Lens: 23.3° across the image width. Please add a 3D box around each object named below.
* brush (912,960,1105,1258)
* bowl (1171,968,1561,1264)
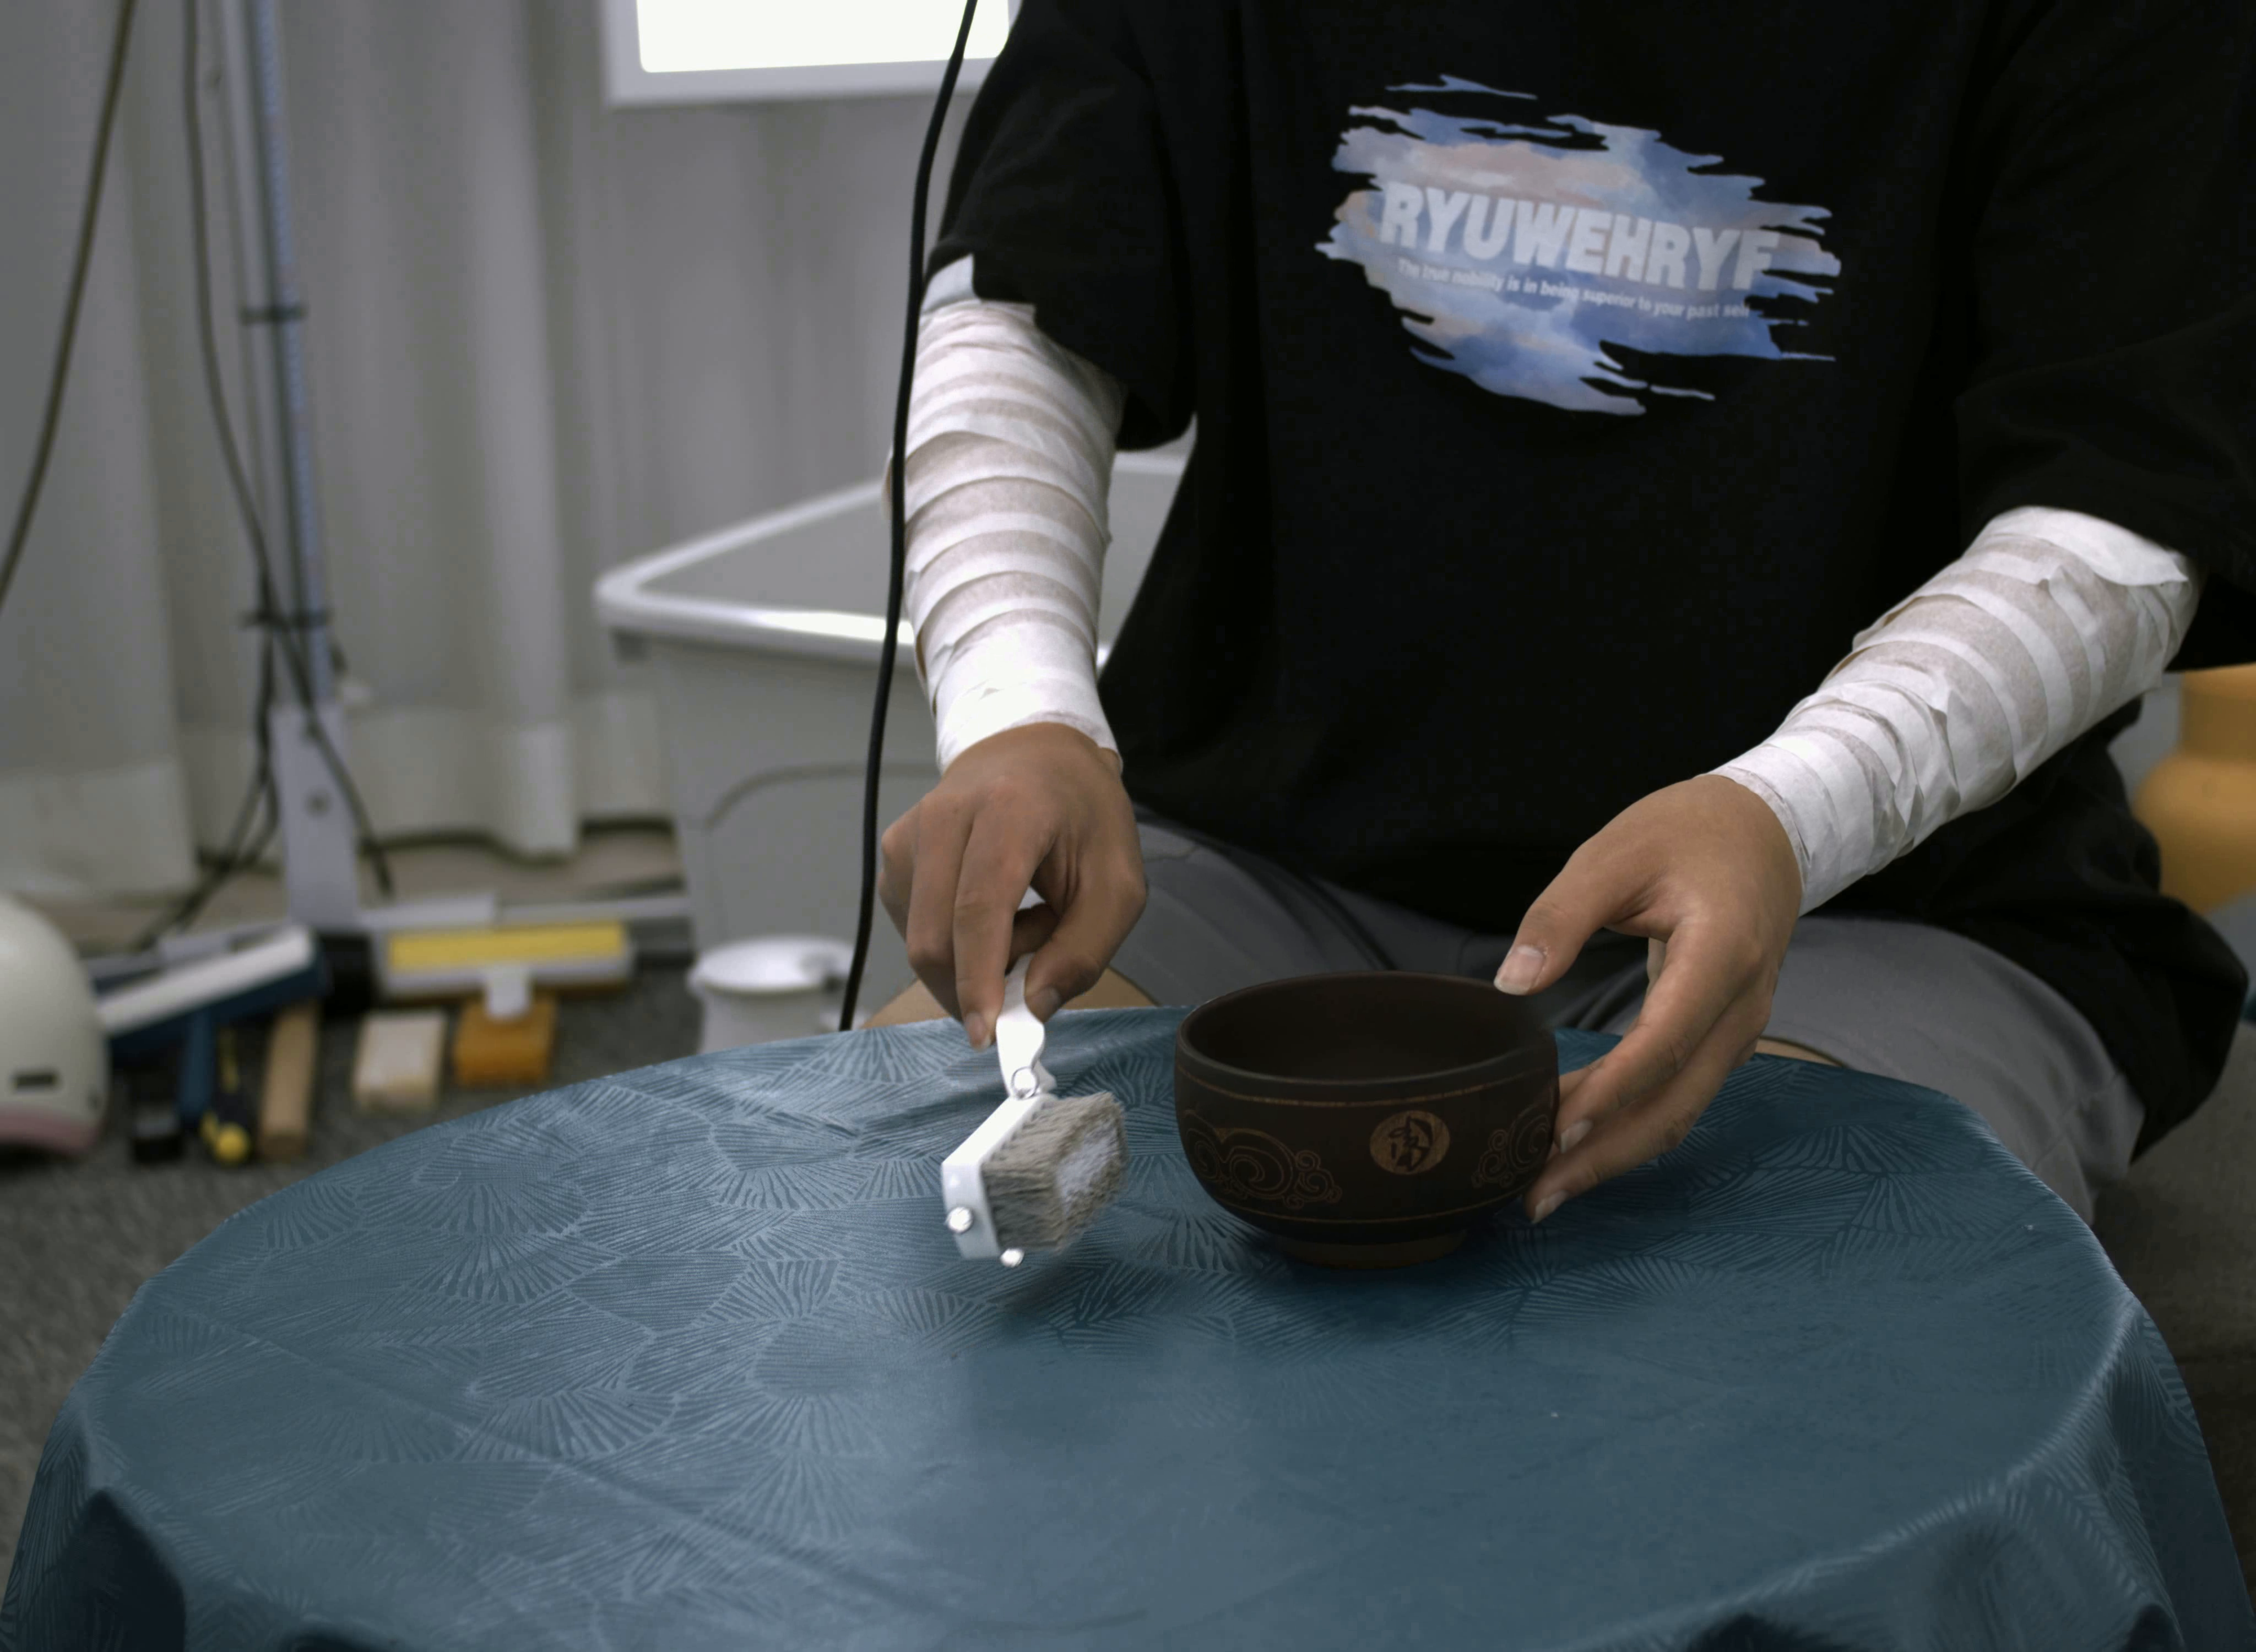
[{"bbox_3d":[-0.024,0.082,1.706,0.050,0.034,0.245,-8,13,10],"label":"brush"},{"bbox_3d":[0.072,0.091,1.648,0.117,0.069,0.118,-3,12,0],"label":"bowl"}]
